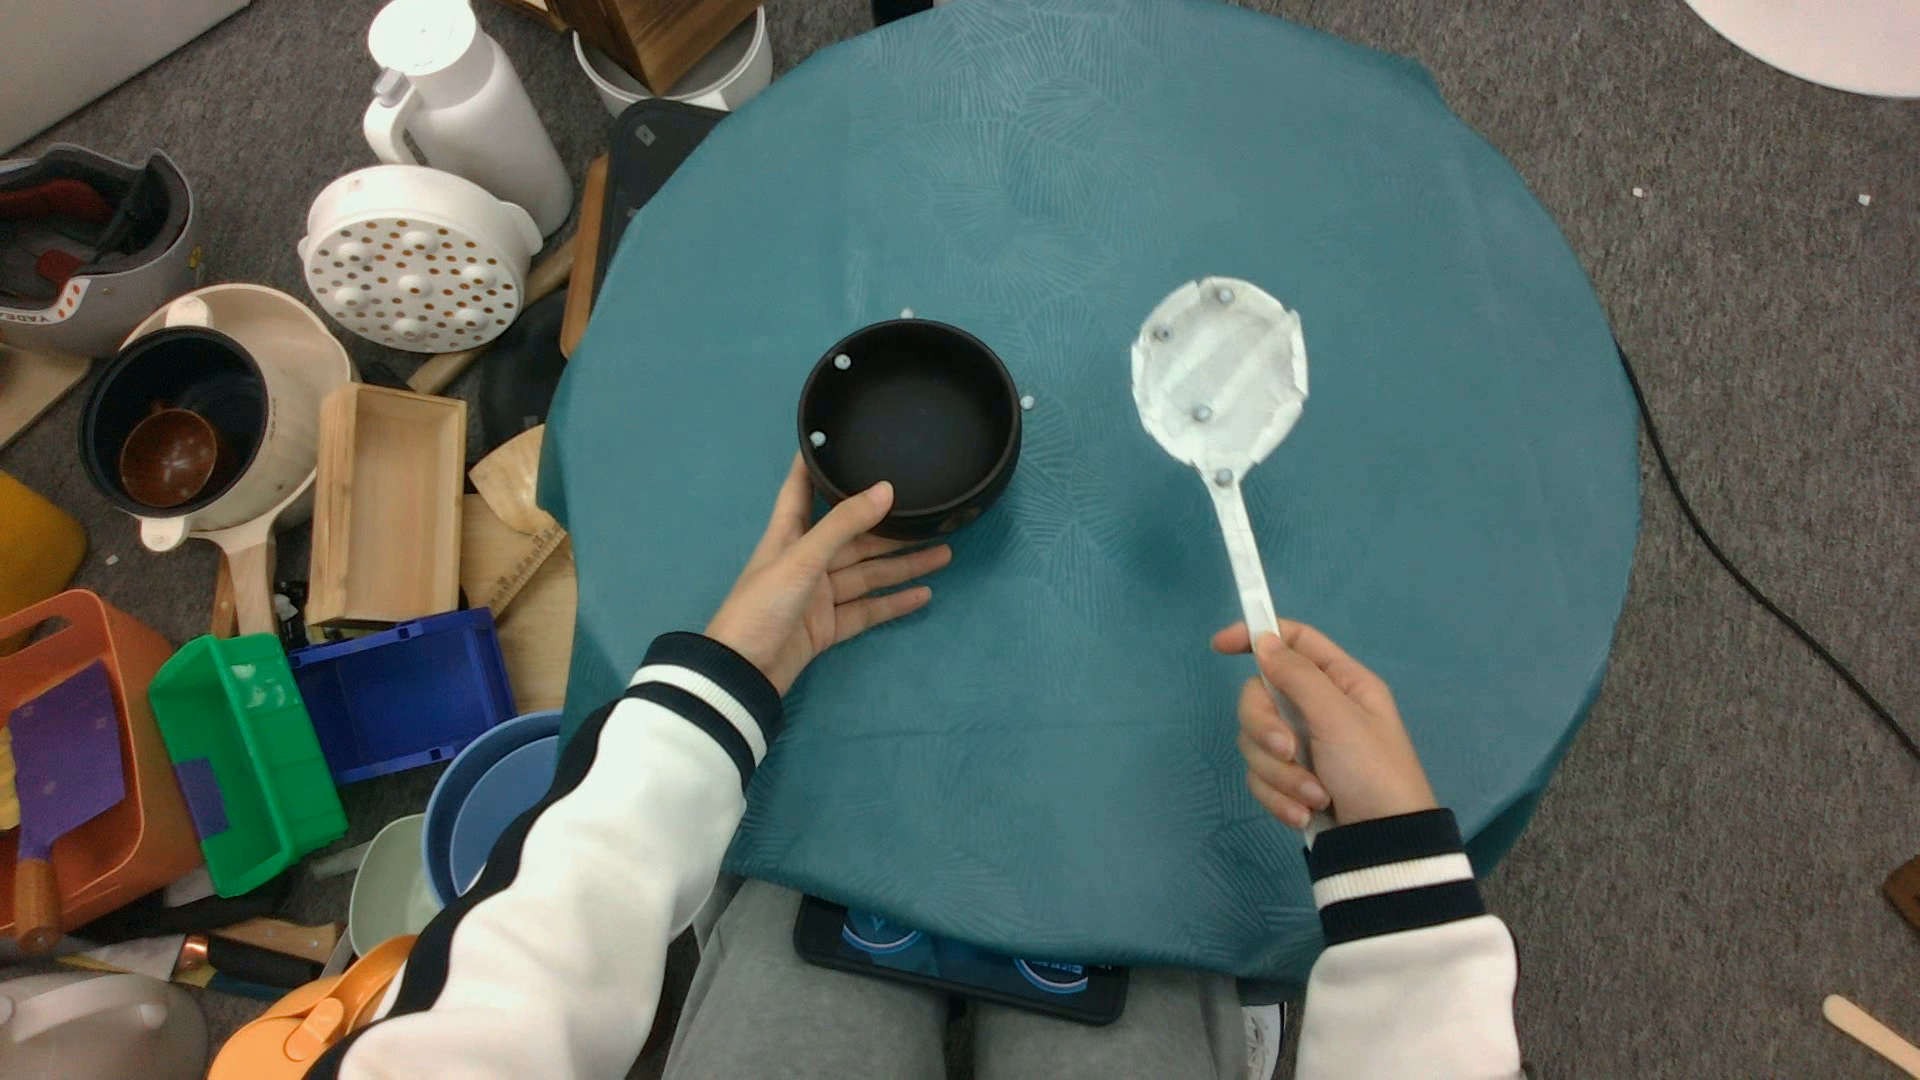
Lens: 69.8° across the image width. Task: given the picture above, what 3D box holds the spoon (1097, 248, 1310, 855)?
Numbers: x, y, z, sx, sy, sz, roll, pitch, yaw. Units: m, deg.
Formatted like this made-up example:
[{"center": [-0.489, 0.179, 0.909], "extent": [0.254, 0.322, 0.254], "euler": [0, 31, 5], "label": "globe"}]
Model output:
[{"center": [0.122, -0.004, 0.609], "extent": [0.101, 0.059, 0.278], "euler": [0, 61, -16], "label": "spoon"}]

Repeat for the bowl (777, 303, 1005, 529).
[{"center": [-0.035, -0.059, 0.732], "extent": [0.118, 0.069, 0.118], "euler": [0, 70, 1], "label": "bowl"}]
